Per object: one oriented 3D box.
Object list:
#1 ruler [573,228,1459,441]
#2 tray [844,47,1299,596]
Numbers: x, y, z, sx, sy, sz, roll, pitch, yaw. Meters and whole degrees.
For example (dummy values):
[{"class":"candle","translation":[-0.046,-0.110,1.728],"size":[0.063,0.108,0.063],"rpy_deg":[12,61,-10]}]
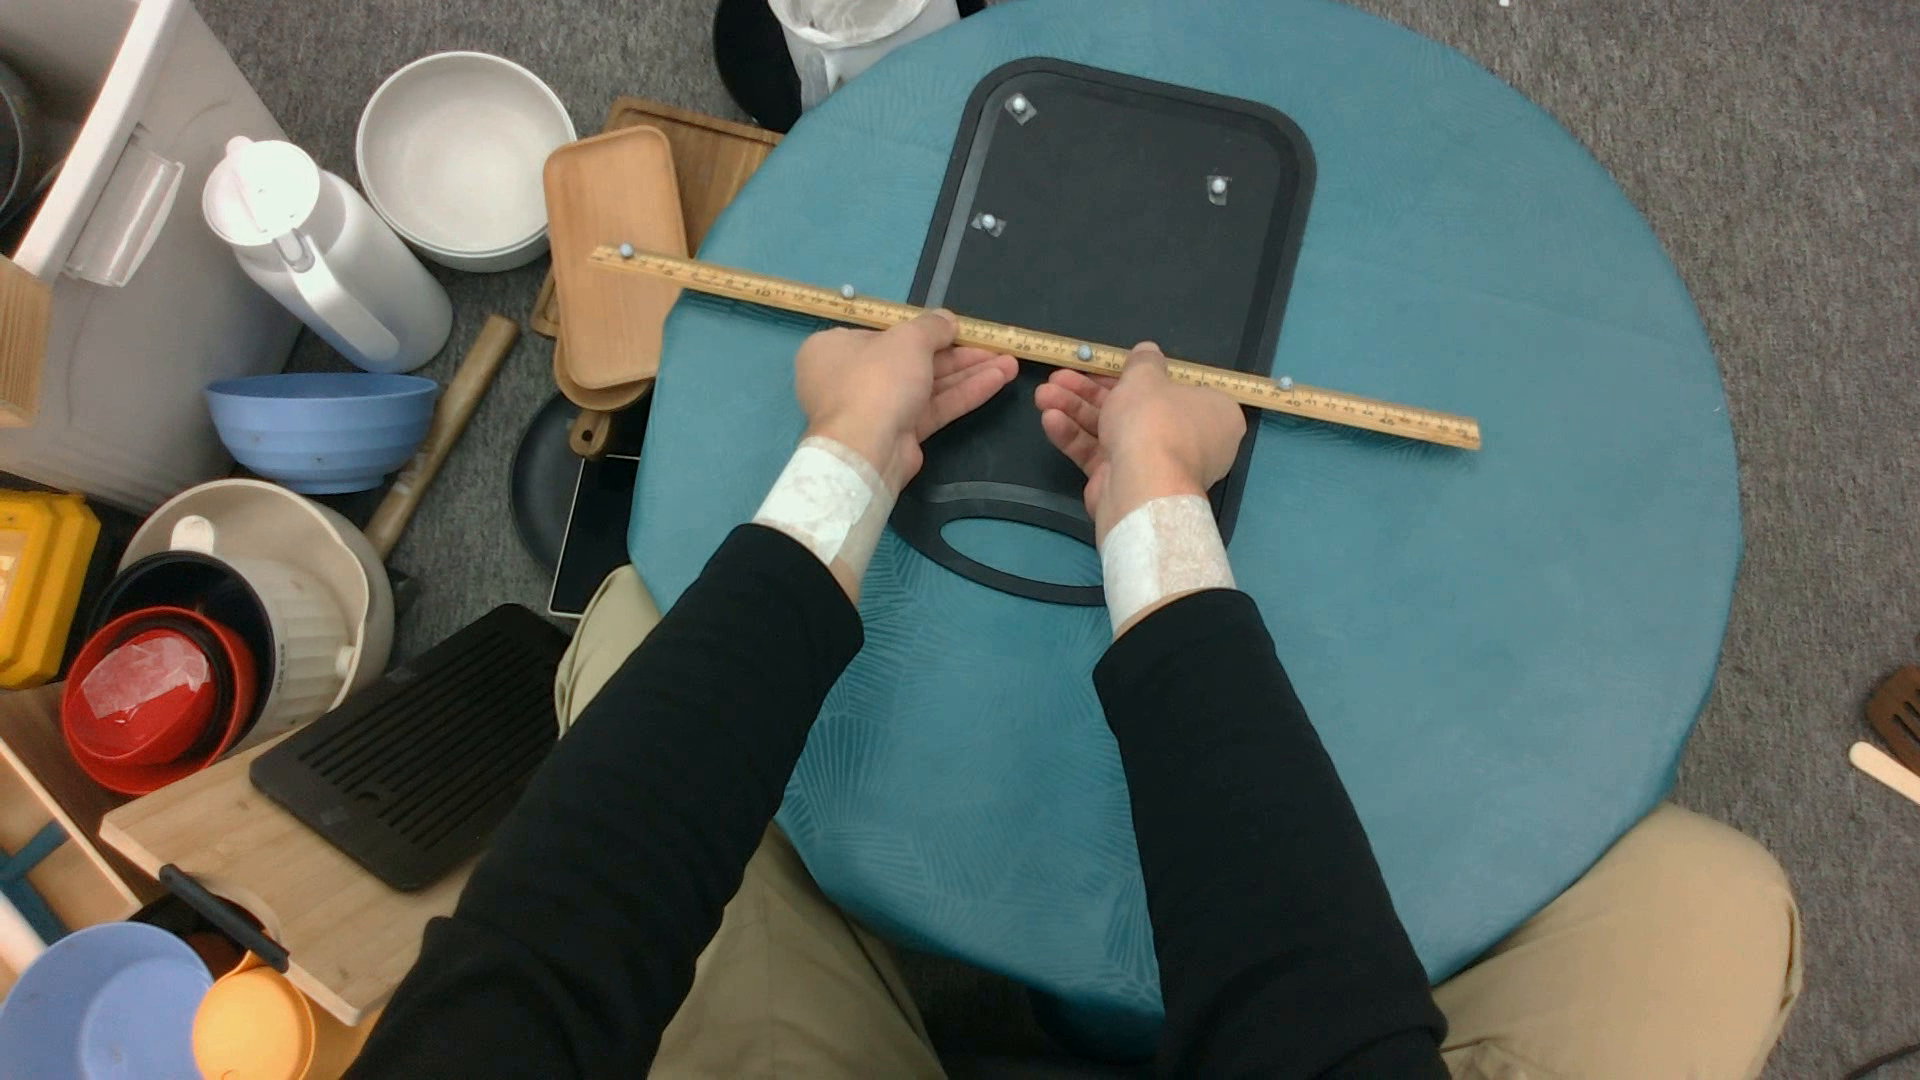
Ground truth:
[{"class":"ruler","translation":[0.027,-0.115,0.764],"size":[0.500,0.006,0.027],"rpy_deg":[13,41,4]},{"class":"tray","translation":[0.065,-0.128,0.776],"size":[0.211,0.010,0.326],"rpy_deg":[15,75,5]}]
